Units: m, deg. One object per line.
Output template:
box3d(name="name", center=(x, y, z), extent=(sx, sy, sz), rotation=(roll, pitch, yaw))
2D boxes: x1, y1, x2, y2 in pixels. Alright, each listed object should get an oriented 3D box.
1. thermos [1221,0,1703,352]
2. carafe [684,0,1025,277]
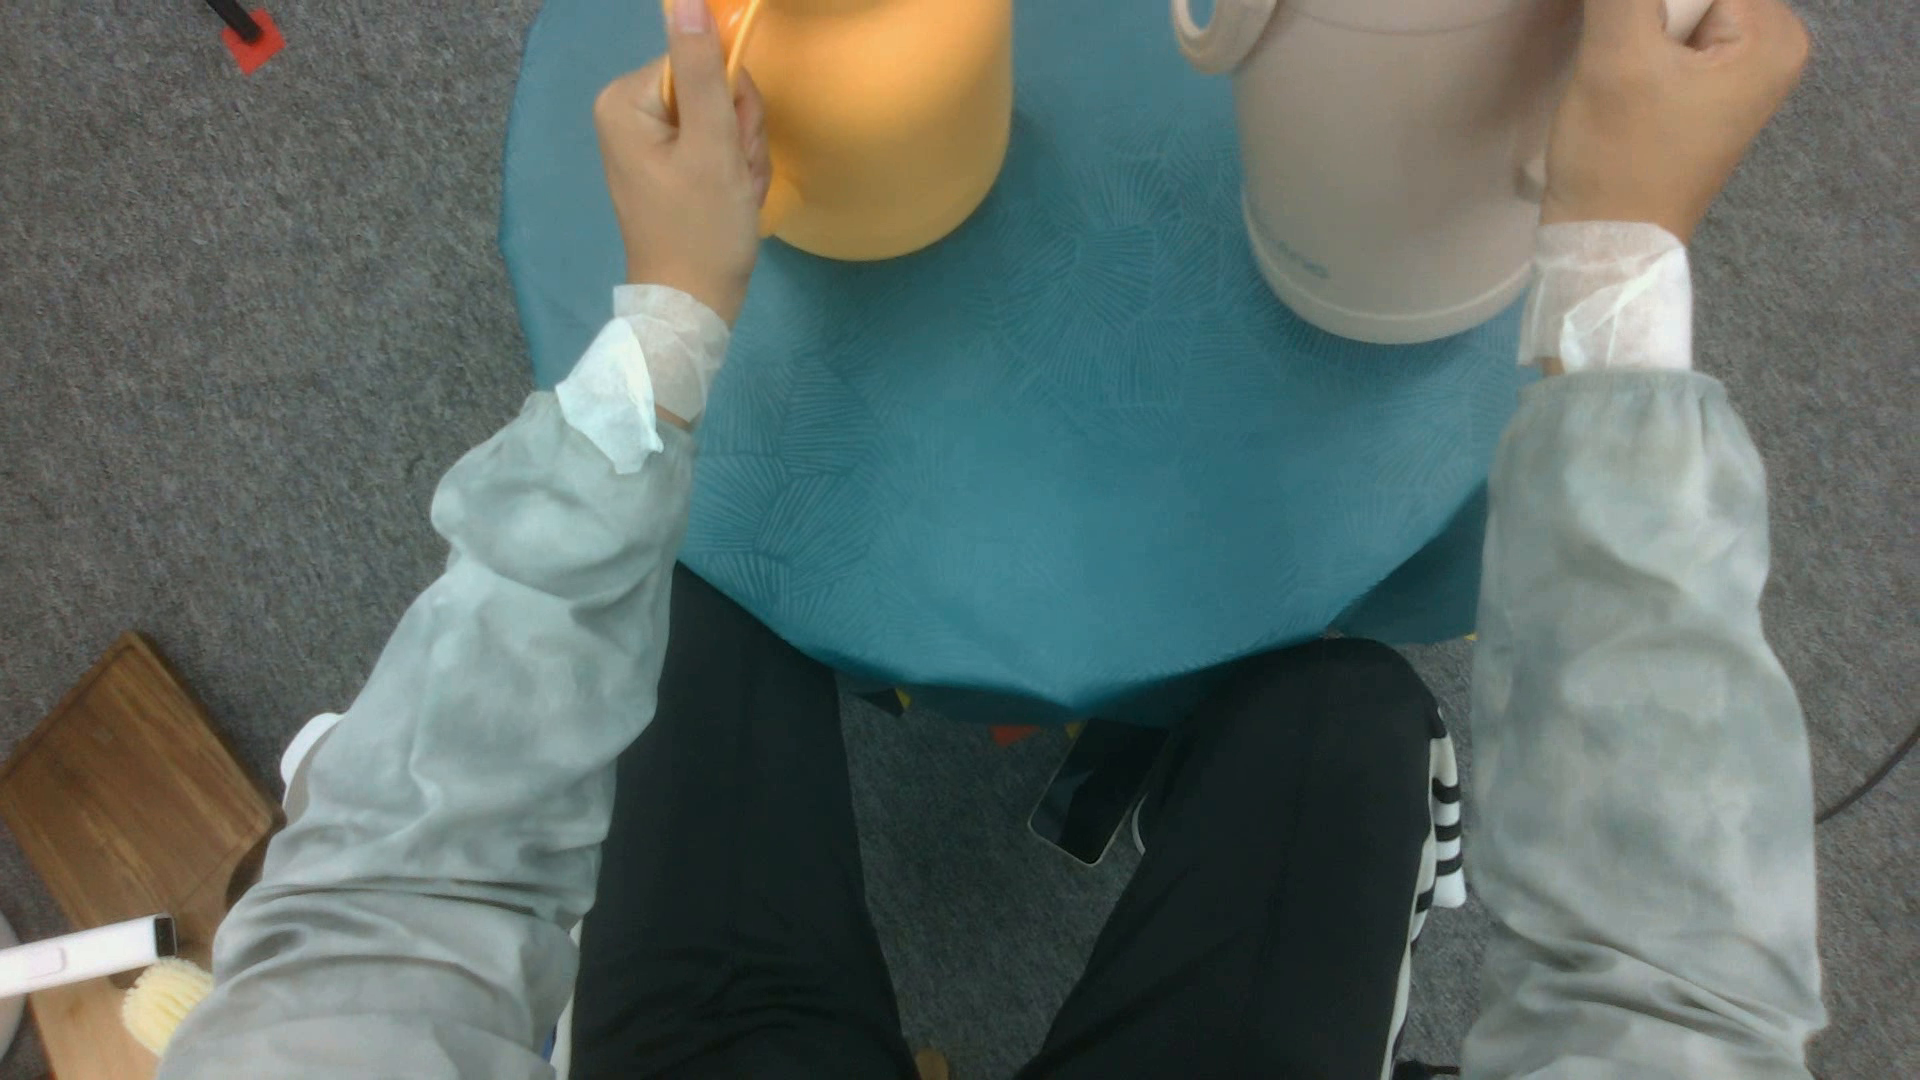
box3d(name="thermos", center=(0.195, -0.218, 0.555), extent=(0.175, 0.406, 0.207), rotation=(-41, 66, 1))
box3d(name="carafe", center=(-0.059, -0.229, 0.660), extent=(0.163, 0.260, 0.203), rotation=(26, 78, 9))
